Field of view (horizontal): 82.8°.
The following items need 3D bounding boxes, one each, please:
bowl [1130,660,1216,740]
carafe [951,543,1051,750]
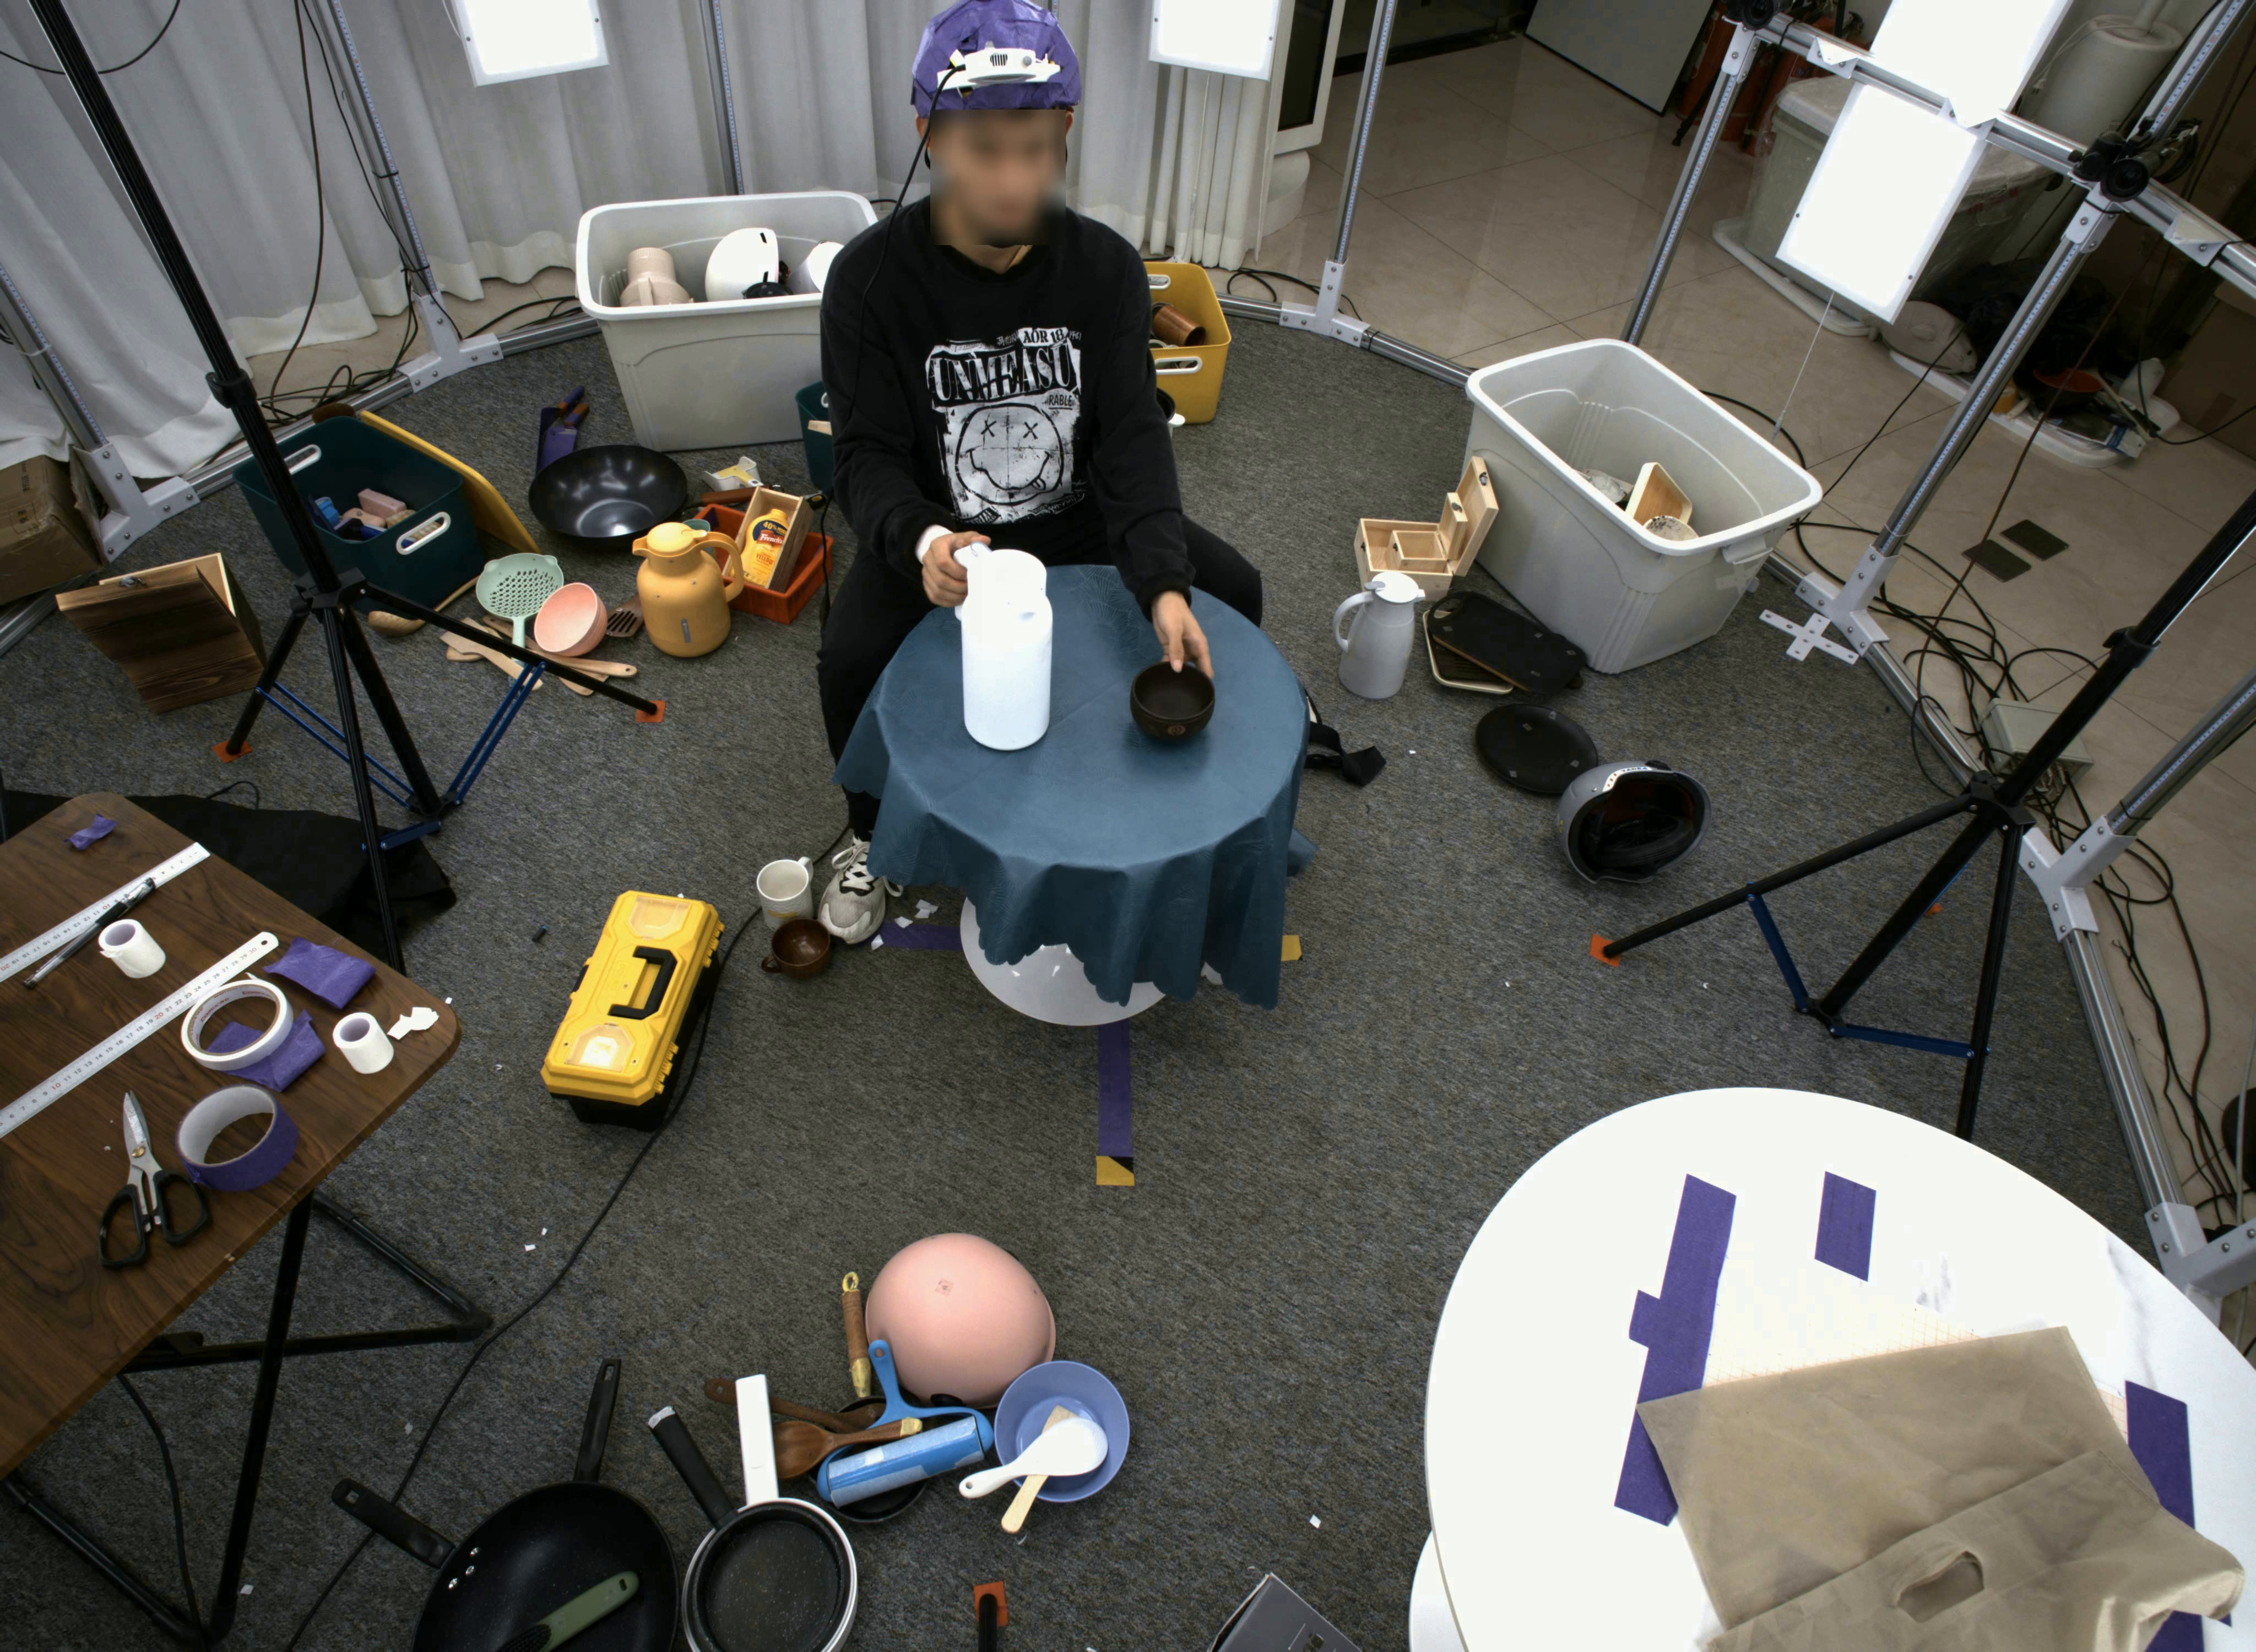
[{"bbox_3d":[0.061,-0.166,1.769,0.118,0.068,0.121,1,49,-2],"label":"bowl"},{"bbox_3d":[-0.172,-0.238,1.693,0.124,0.262,0.176,-30,58,-24],"label":"carafe"}]
